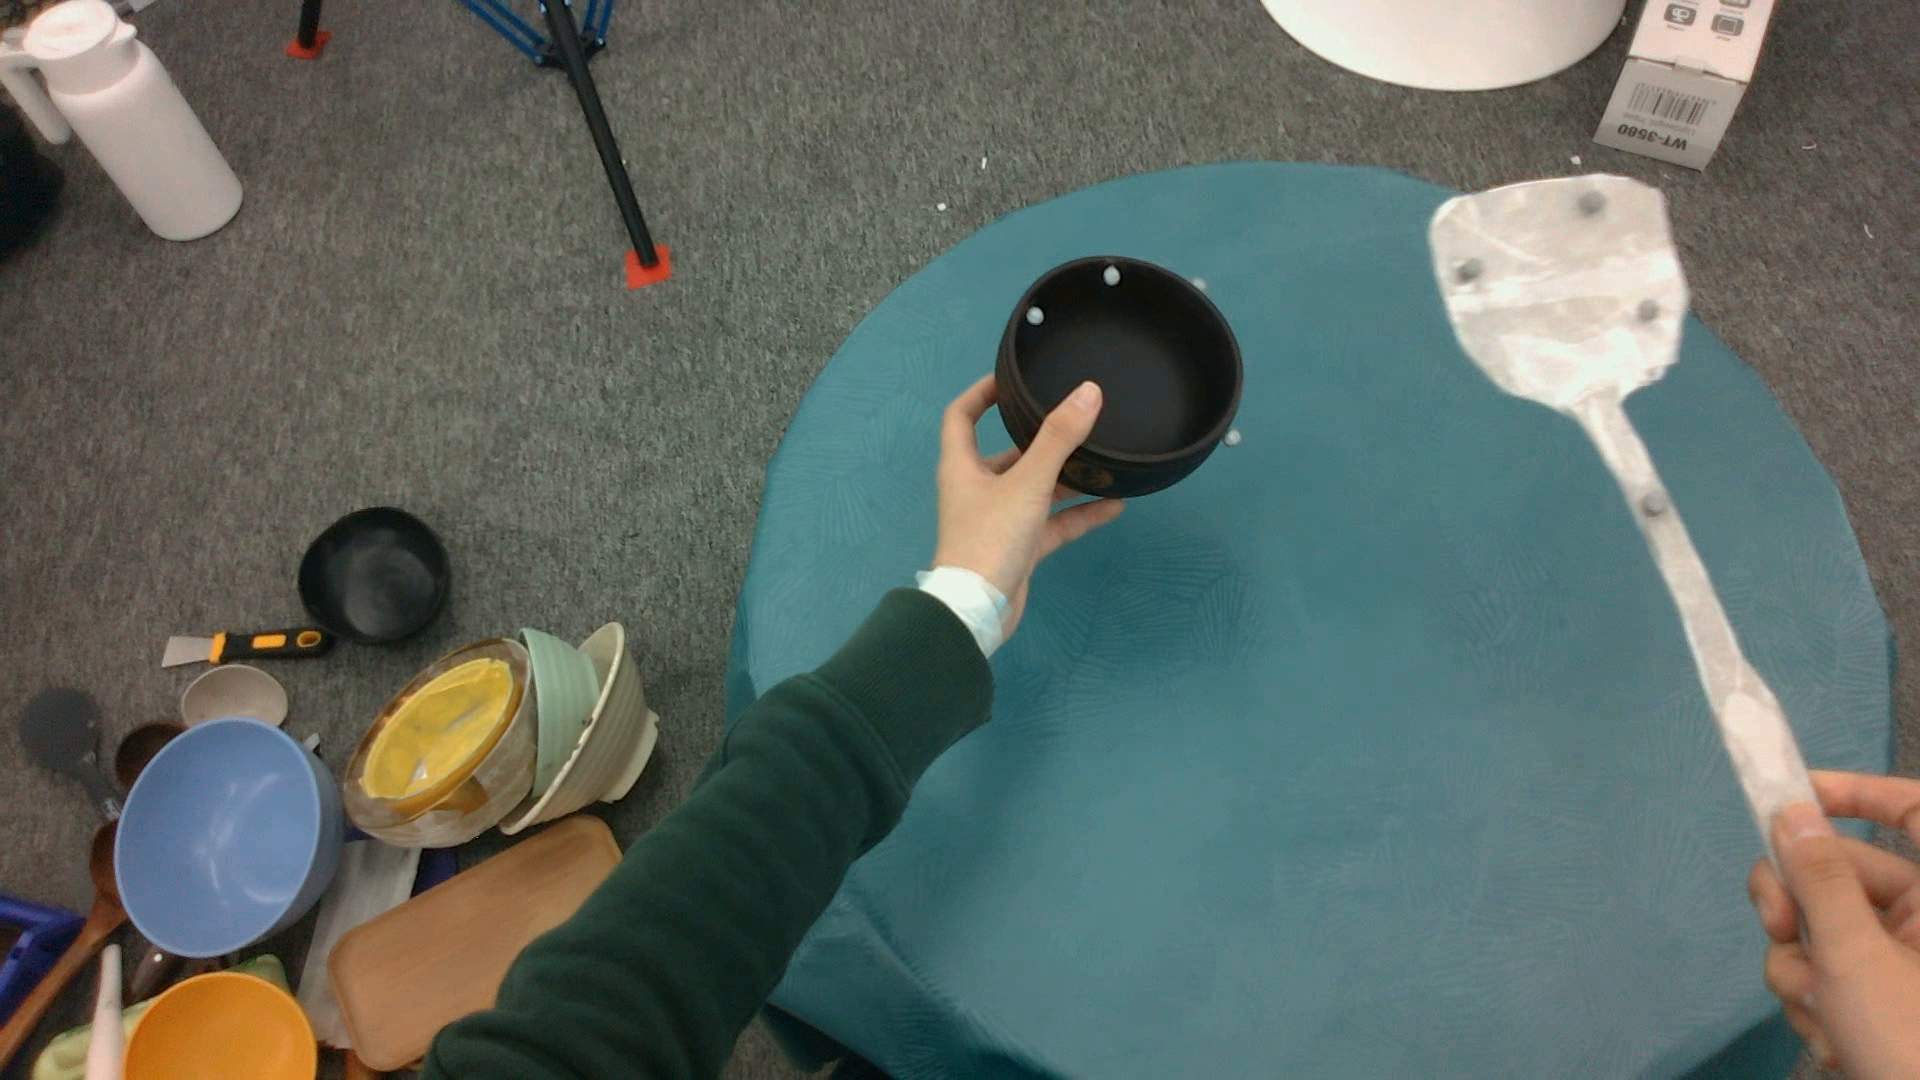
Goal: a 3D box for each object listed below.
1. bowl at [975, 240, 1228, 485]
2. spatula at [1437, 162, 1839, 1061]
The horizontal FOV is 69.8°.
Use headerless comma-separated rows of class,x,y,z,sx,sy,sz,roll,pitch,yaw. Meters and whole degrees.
bowl,0.064,-0.079,0.670,0.118,0.069,0.118,4,64,-8
spatula,0.259,-0.002,0.510,0.098,0.044,0.366,-6,54,6
